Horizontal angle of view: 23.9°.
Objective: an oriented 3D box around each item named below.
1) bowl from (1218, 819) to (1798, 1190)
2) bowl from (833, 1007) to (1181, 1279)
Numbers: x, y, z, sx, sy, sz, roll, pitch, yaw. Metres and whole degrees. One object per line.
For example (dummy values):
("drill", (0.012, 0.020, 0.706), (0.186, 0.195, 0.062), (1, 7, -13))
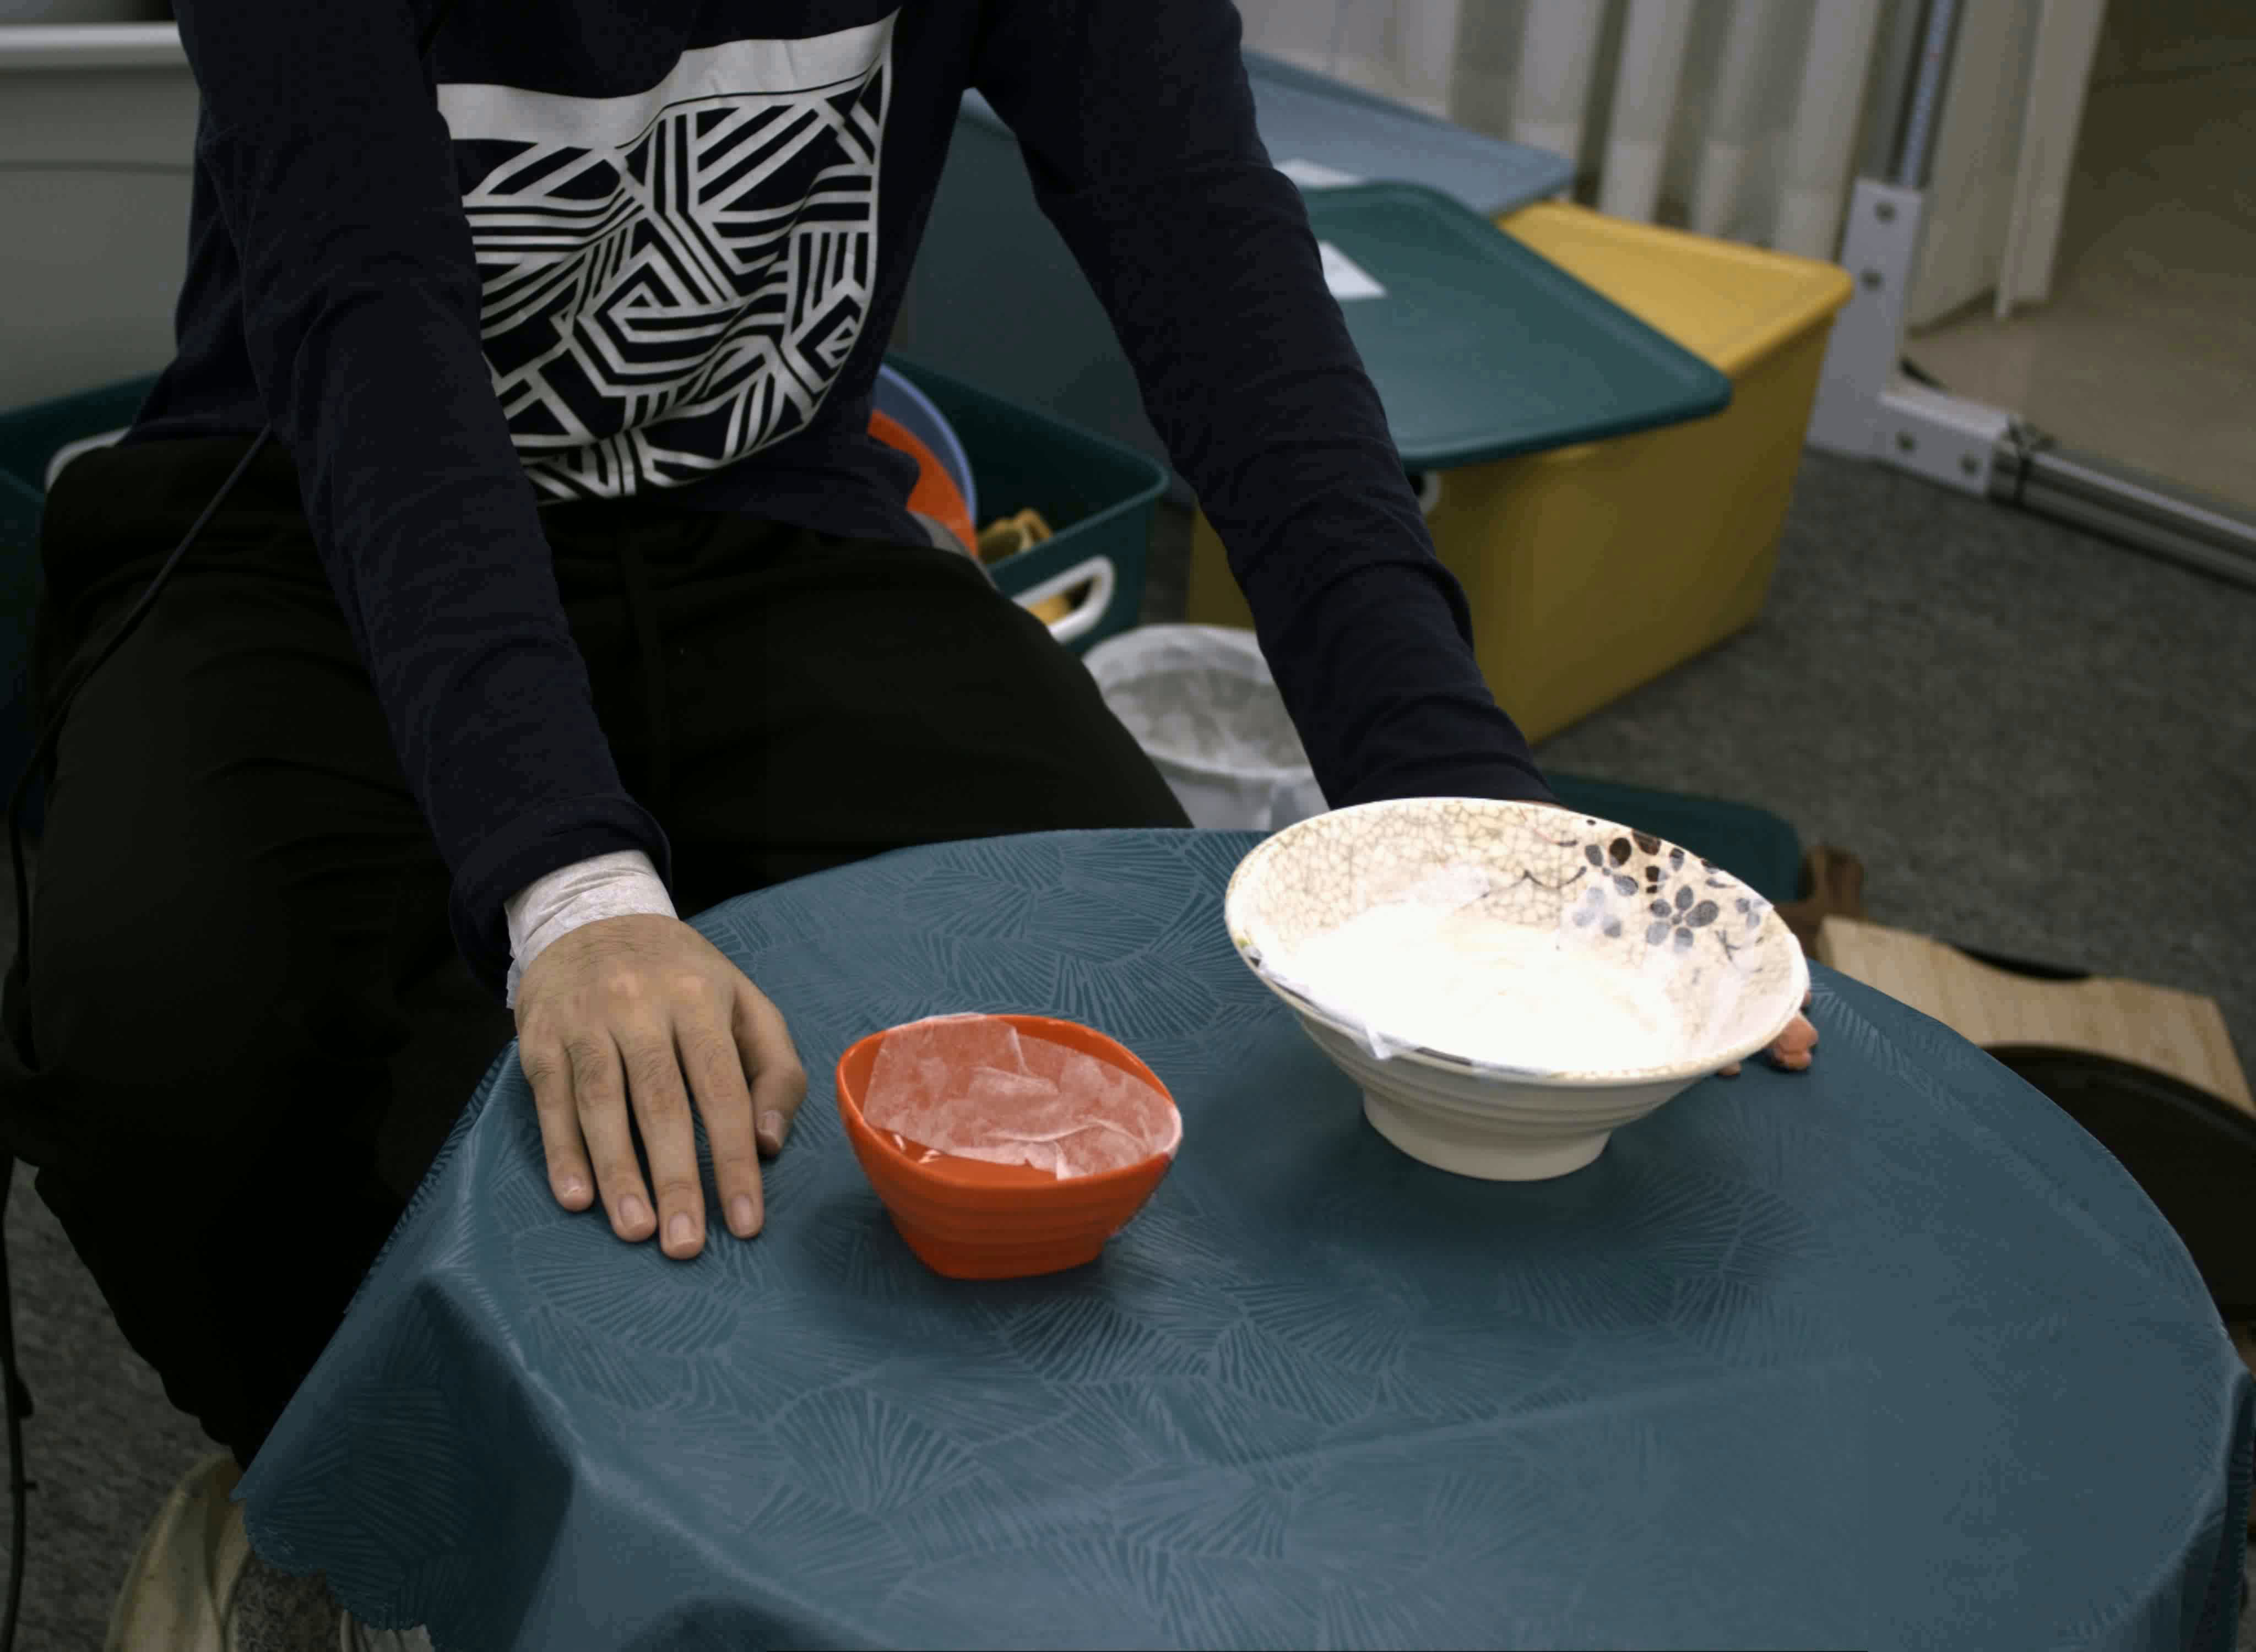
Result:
("bowl", (0.127, 0.073, 1.854), (0.203, 0.078, 0.205), (6, 22, -3))
("bowl", (-0.042, 0.110, 1.766), (0.118, 0.051, 0.119), (4, 28, -3))
